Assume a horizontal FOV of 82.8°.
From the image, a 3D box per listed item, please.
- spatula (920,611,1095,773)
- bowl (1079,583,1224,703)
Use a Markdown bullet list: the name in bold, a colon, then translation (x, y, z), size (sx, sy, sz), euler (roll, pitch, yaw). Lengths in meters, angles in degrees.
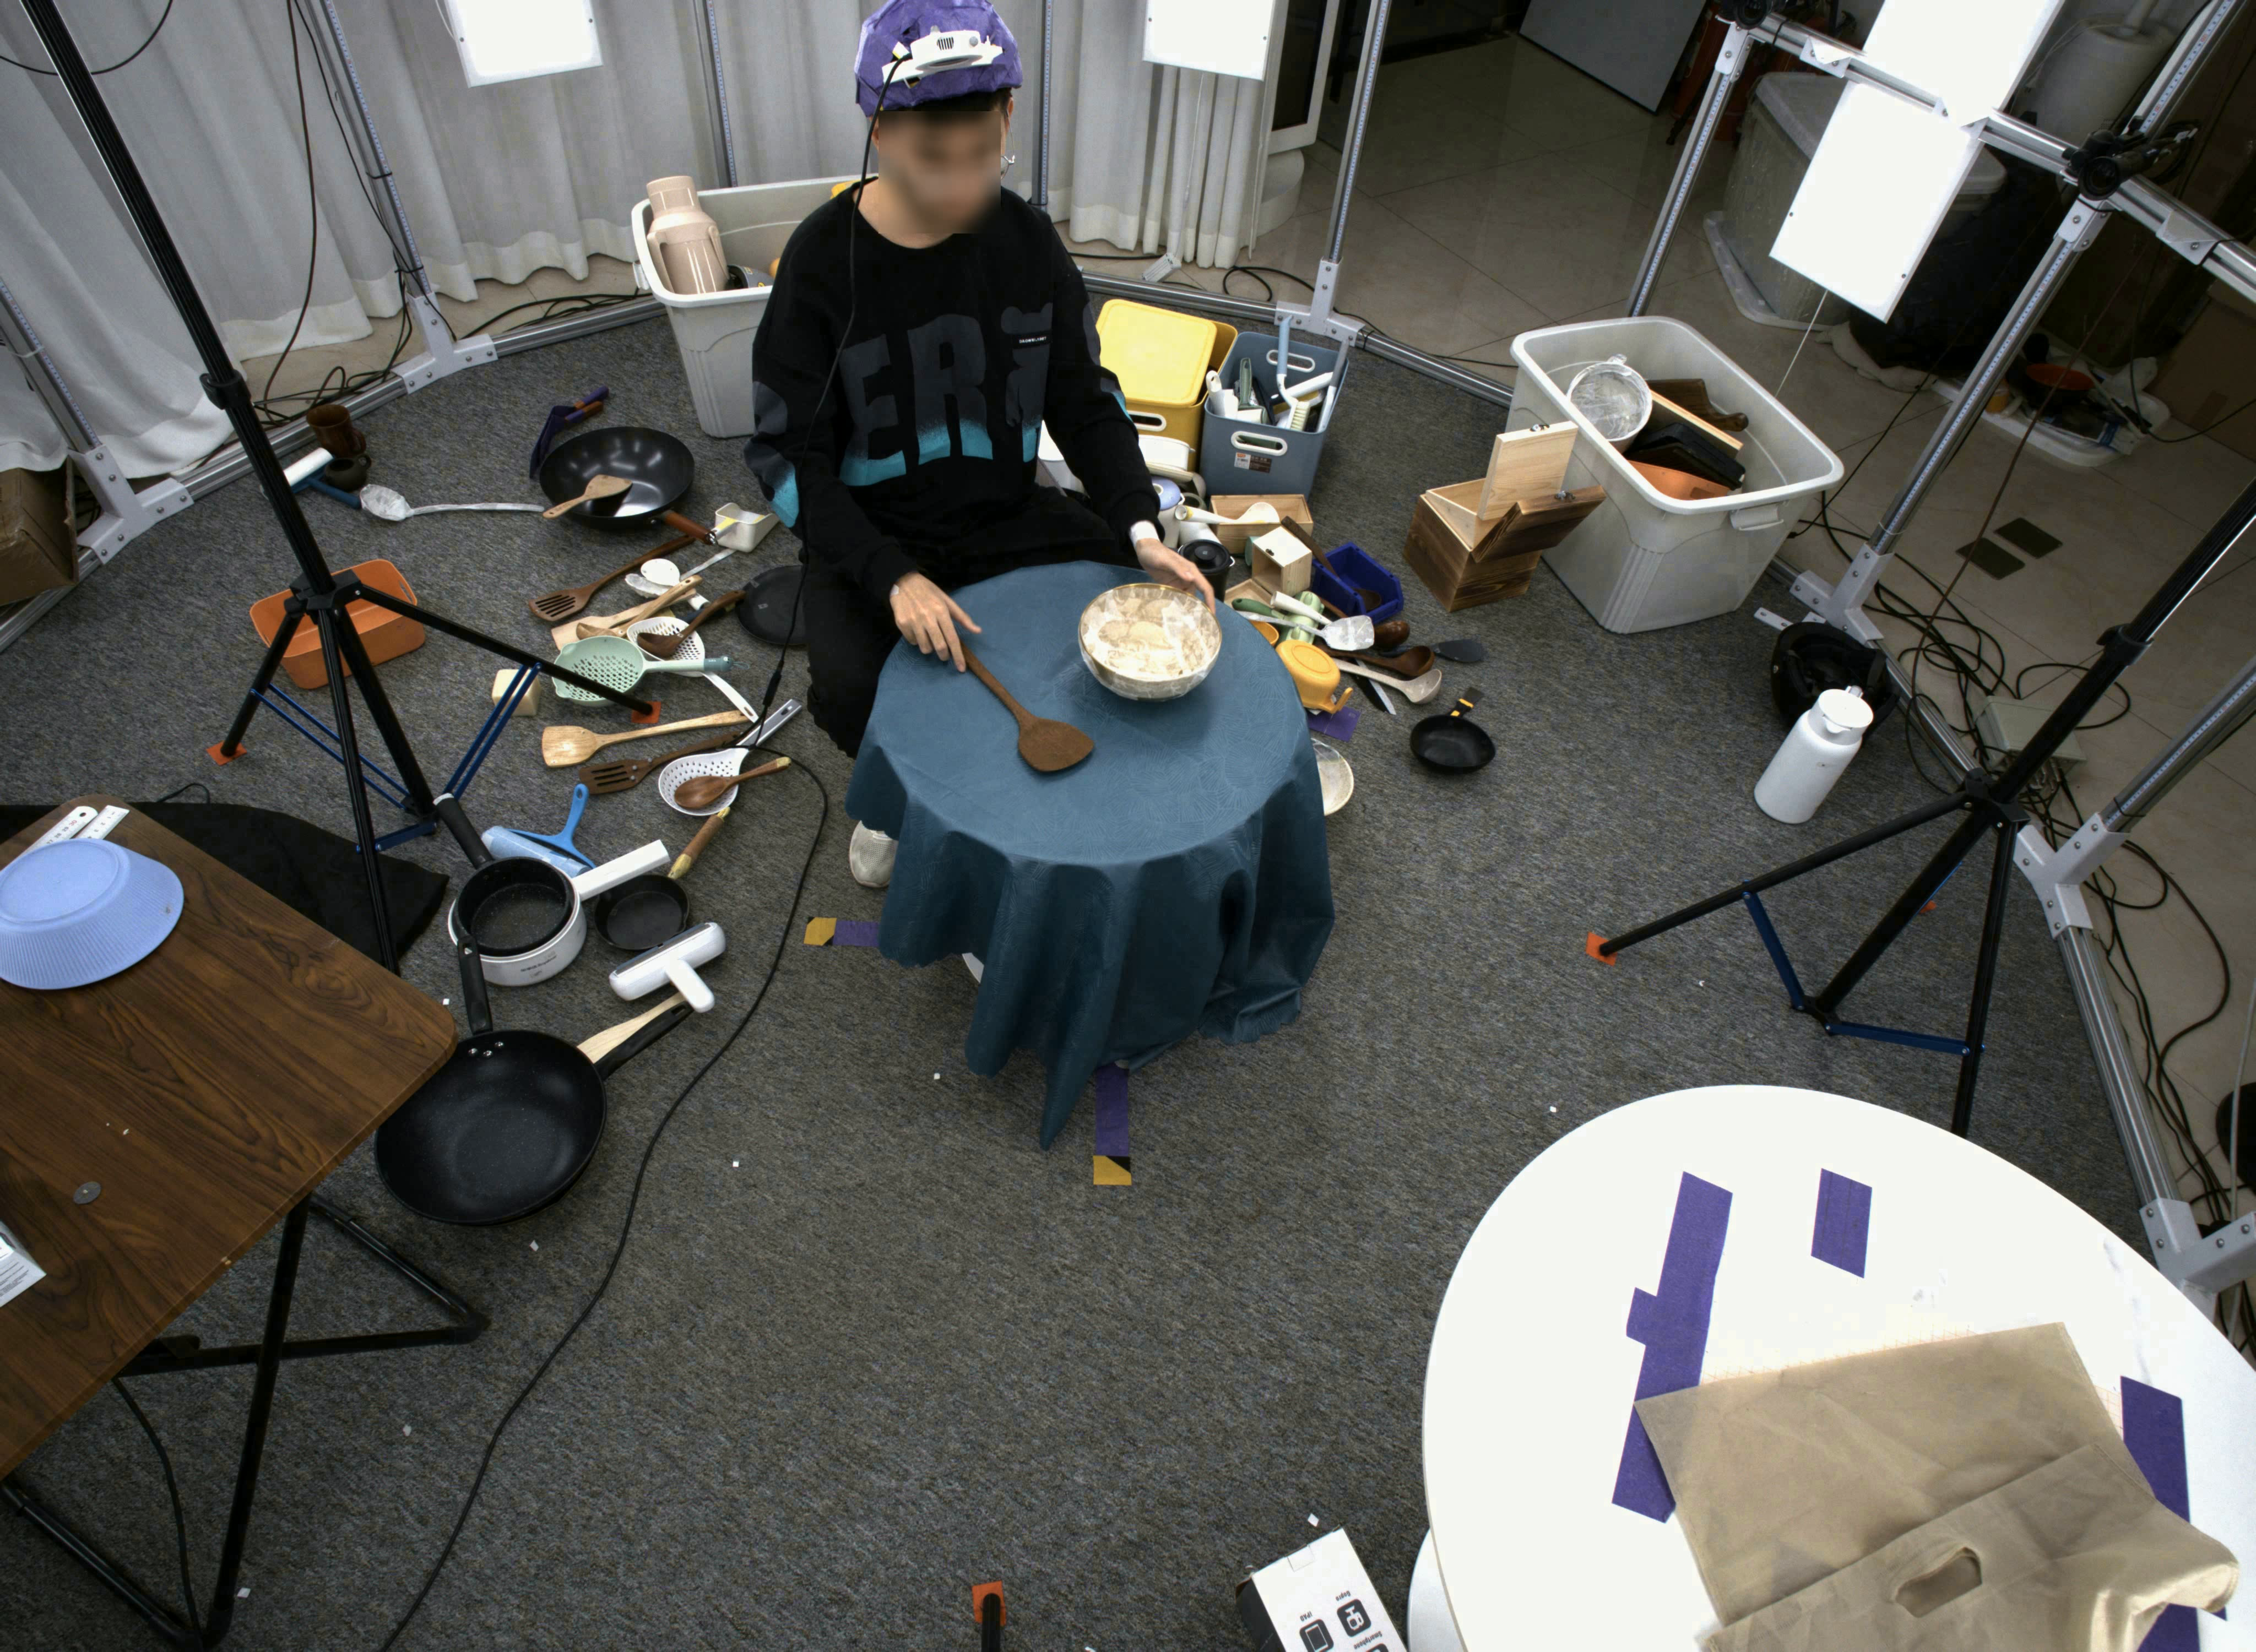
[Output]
- **spatula**: translation (-0.191, -0.202, 1.838), size (0.096, 0.015, 0.393), euler (-28, 56, -25)
- **bowl**: translation (0.031, -0.248, 1.841), size (0.214, 0.092, 0.220), euler (1, 49, -1)
